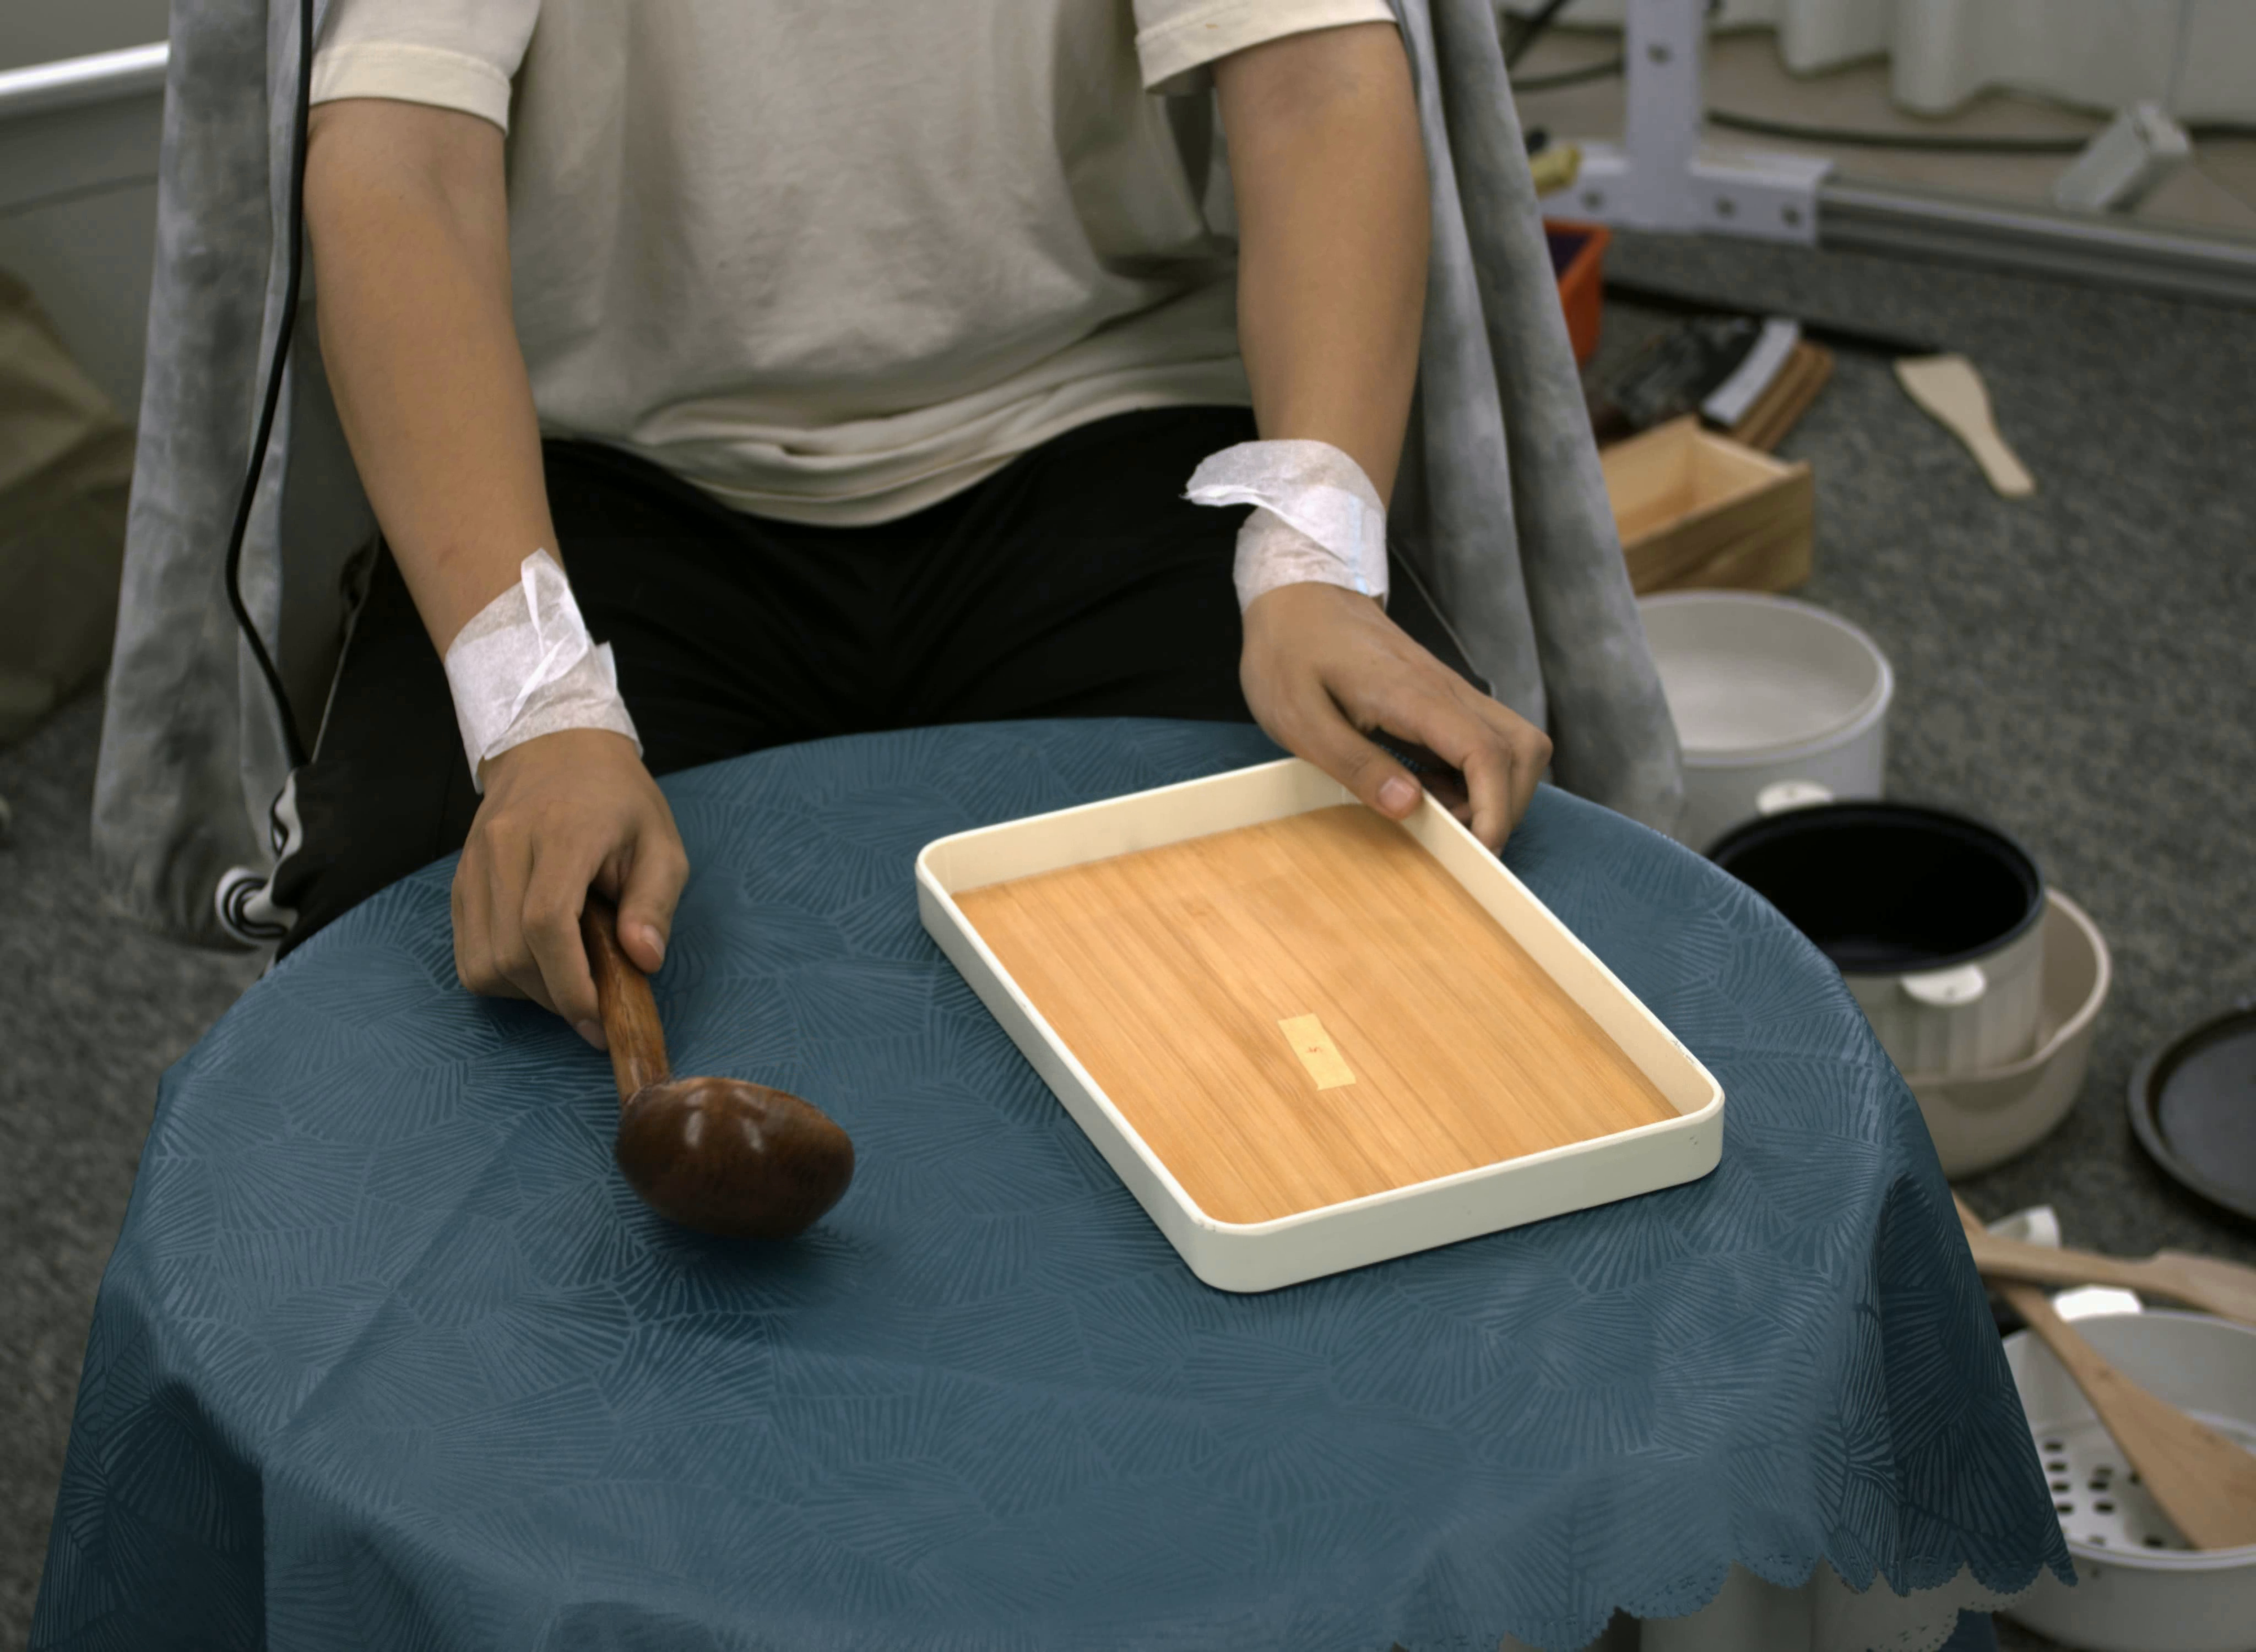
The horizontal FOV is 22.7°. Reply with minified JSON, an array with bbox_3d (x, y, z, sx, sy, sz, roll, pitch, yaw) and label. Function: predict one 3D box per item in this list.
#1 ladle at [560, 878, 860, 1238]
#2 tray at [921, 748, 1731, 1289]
[{"bbox_3d":[-0.152,0.059,1.914,0.081,0.076,0.277,34,15,-25],"label":"ladle"},{"bbox_3d":[0.062,0.061,1.942,0.192,0.027,0.302,-12,28,-18],"label":"tray"}]
